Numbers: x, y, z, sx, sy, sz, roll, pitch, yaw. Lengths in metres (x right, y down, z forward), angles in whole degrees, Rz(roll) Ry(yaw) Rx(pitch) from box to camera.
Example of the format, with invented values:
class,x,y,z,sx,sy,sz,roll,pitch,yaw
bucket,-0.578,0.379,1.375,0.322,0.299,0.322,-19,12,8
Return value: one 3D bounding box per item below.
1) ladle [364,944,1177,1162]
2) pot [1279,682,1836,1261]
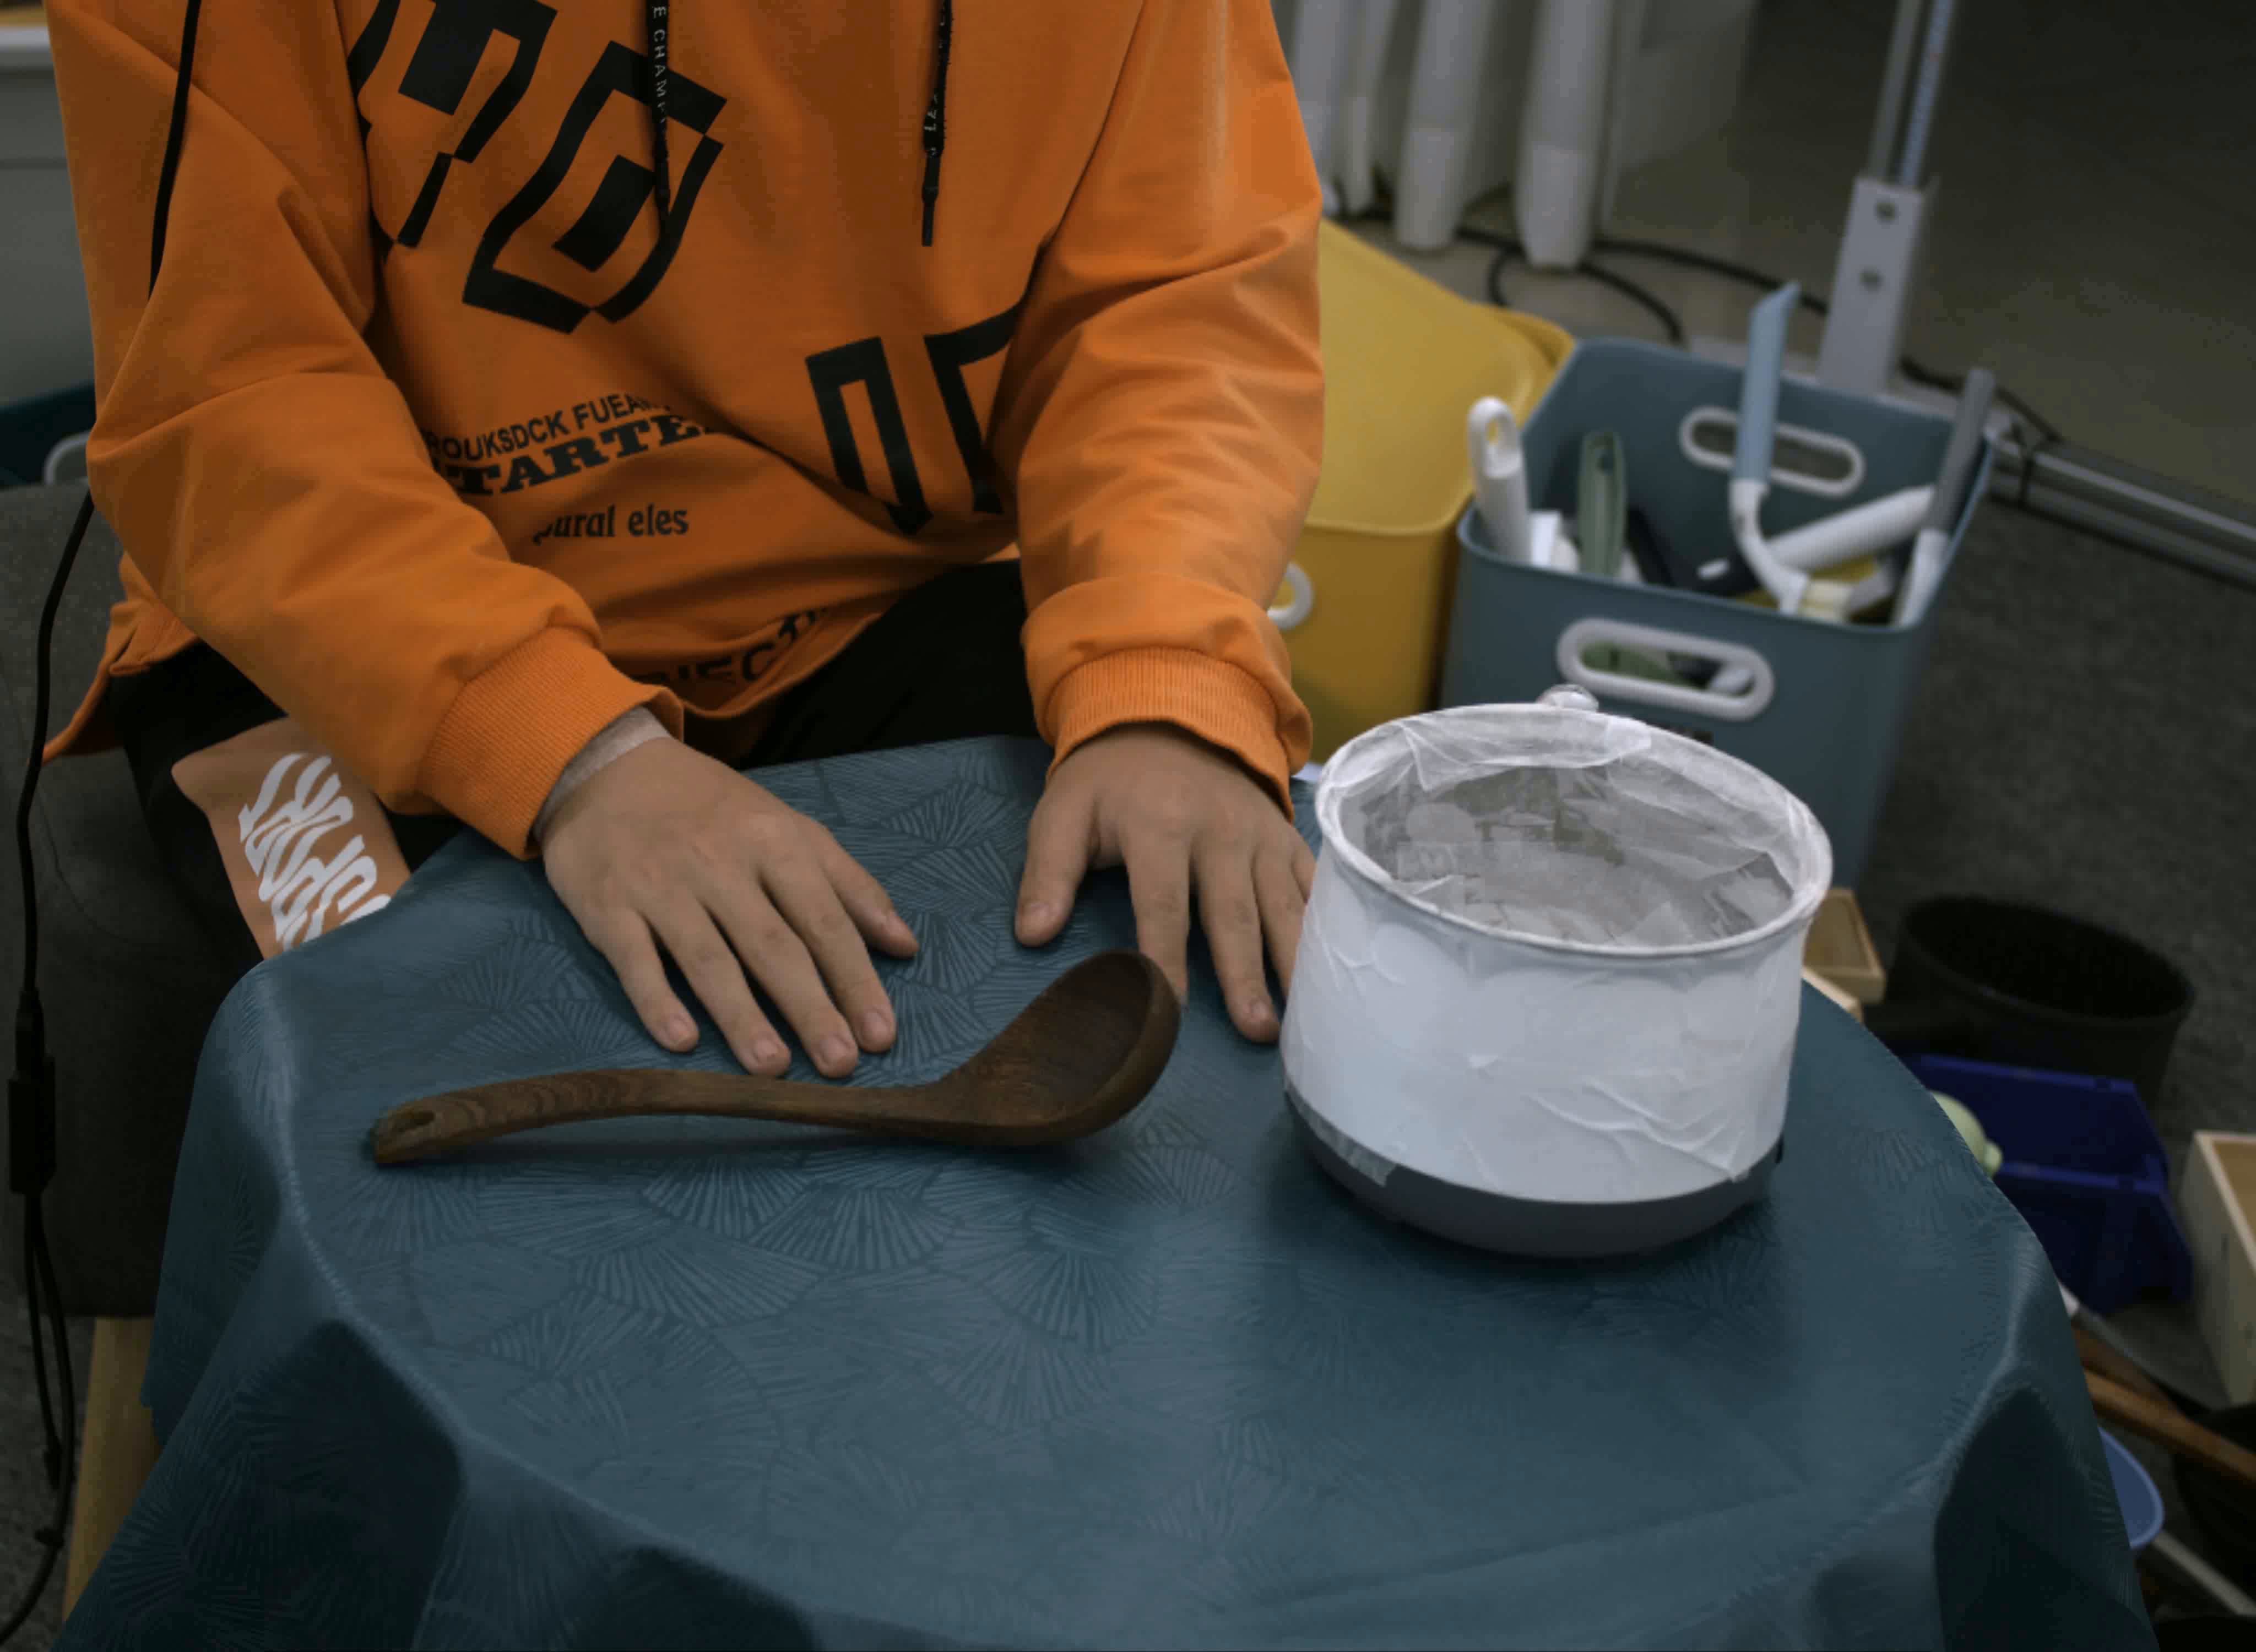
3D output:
class,x,y,z,sx,sy,sz,roll,pitch,yaw
ladle,-0.119,0.077,1.792,0.272,0.071,0.076,0,25,-15
pot,0.144,0.042,1.843,0.178,0.136,0.235,7,27,-1
